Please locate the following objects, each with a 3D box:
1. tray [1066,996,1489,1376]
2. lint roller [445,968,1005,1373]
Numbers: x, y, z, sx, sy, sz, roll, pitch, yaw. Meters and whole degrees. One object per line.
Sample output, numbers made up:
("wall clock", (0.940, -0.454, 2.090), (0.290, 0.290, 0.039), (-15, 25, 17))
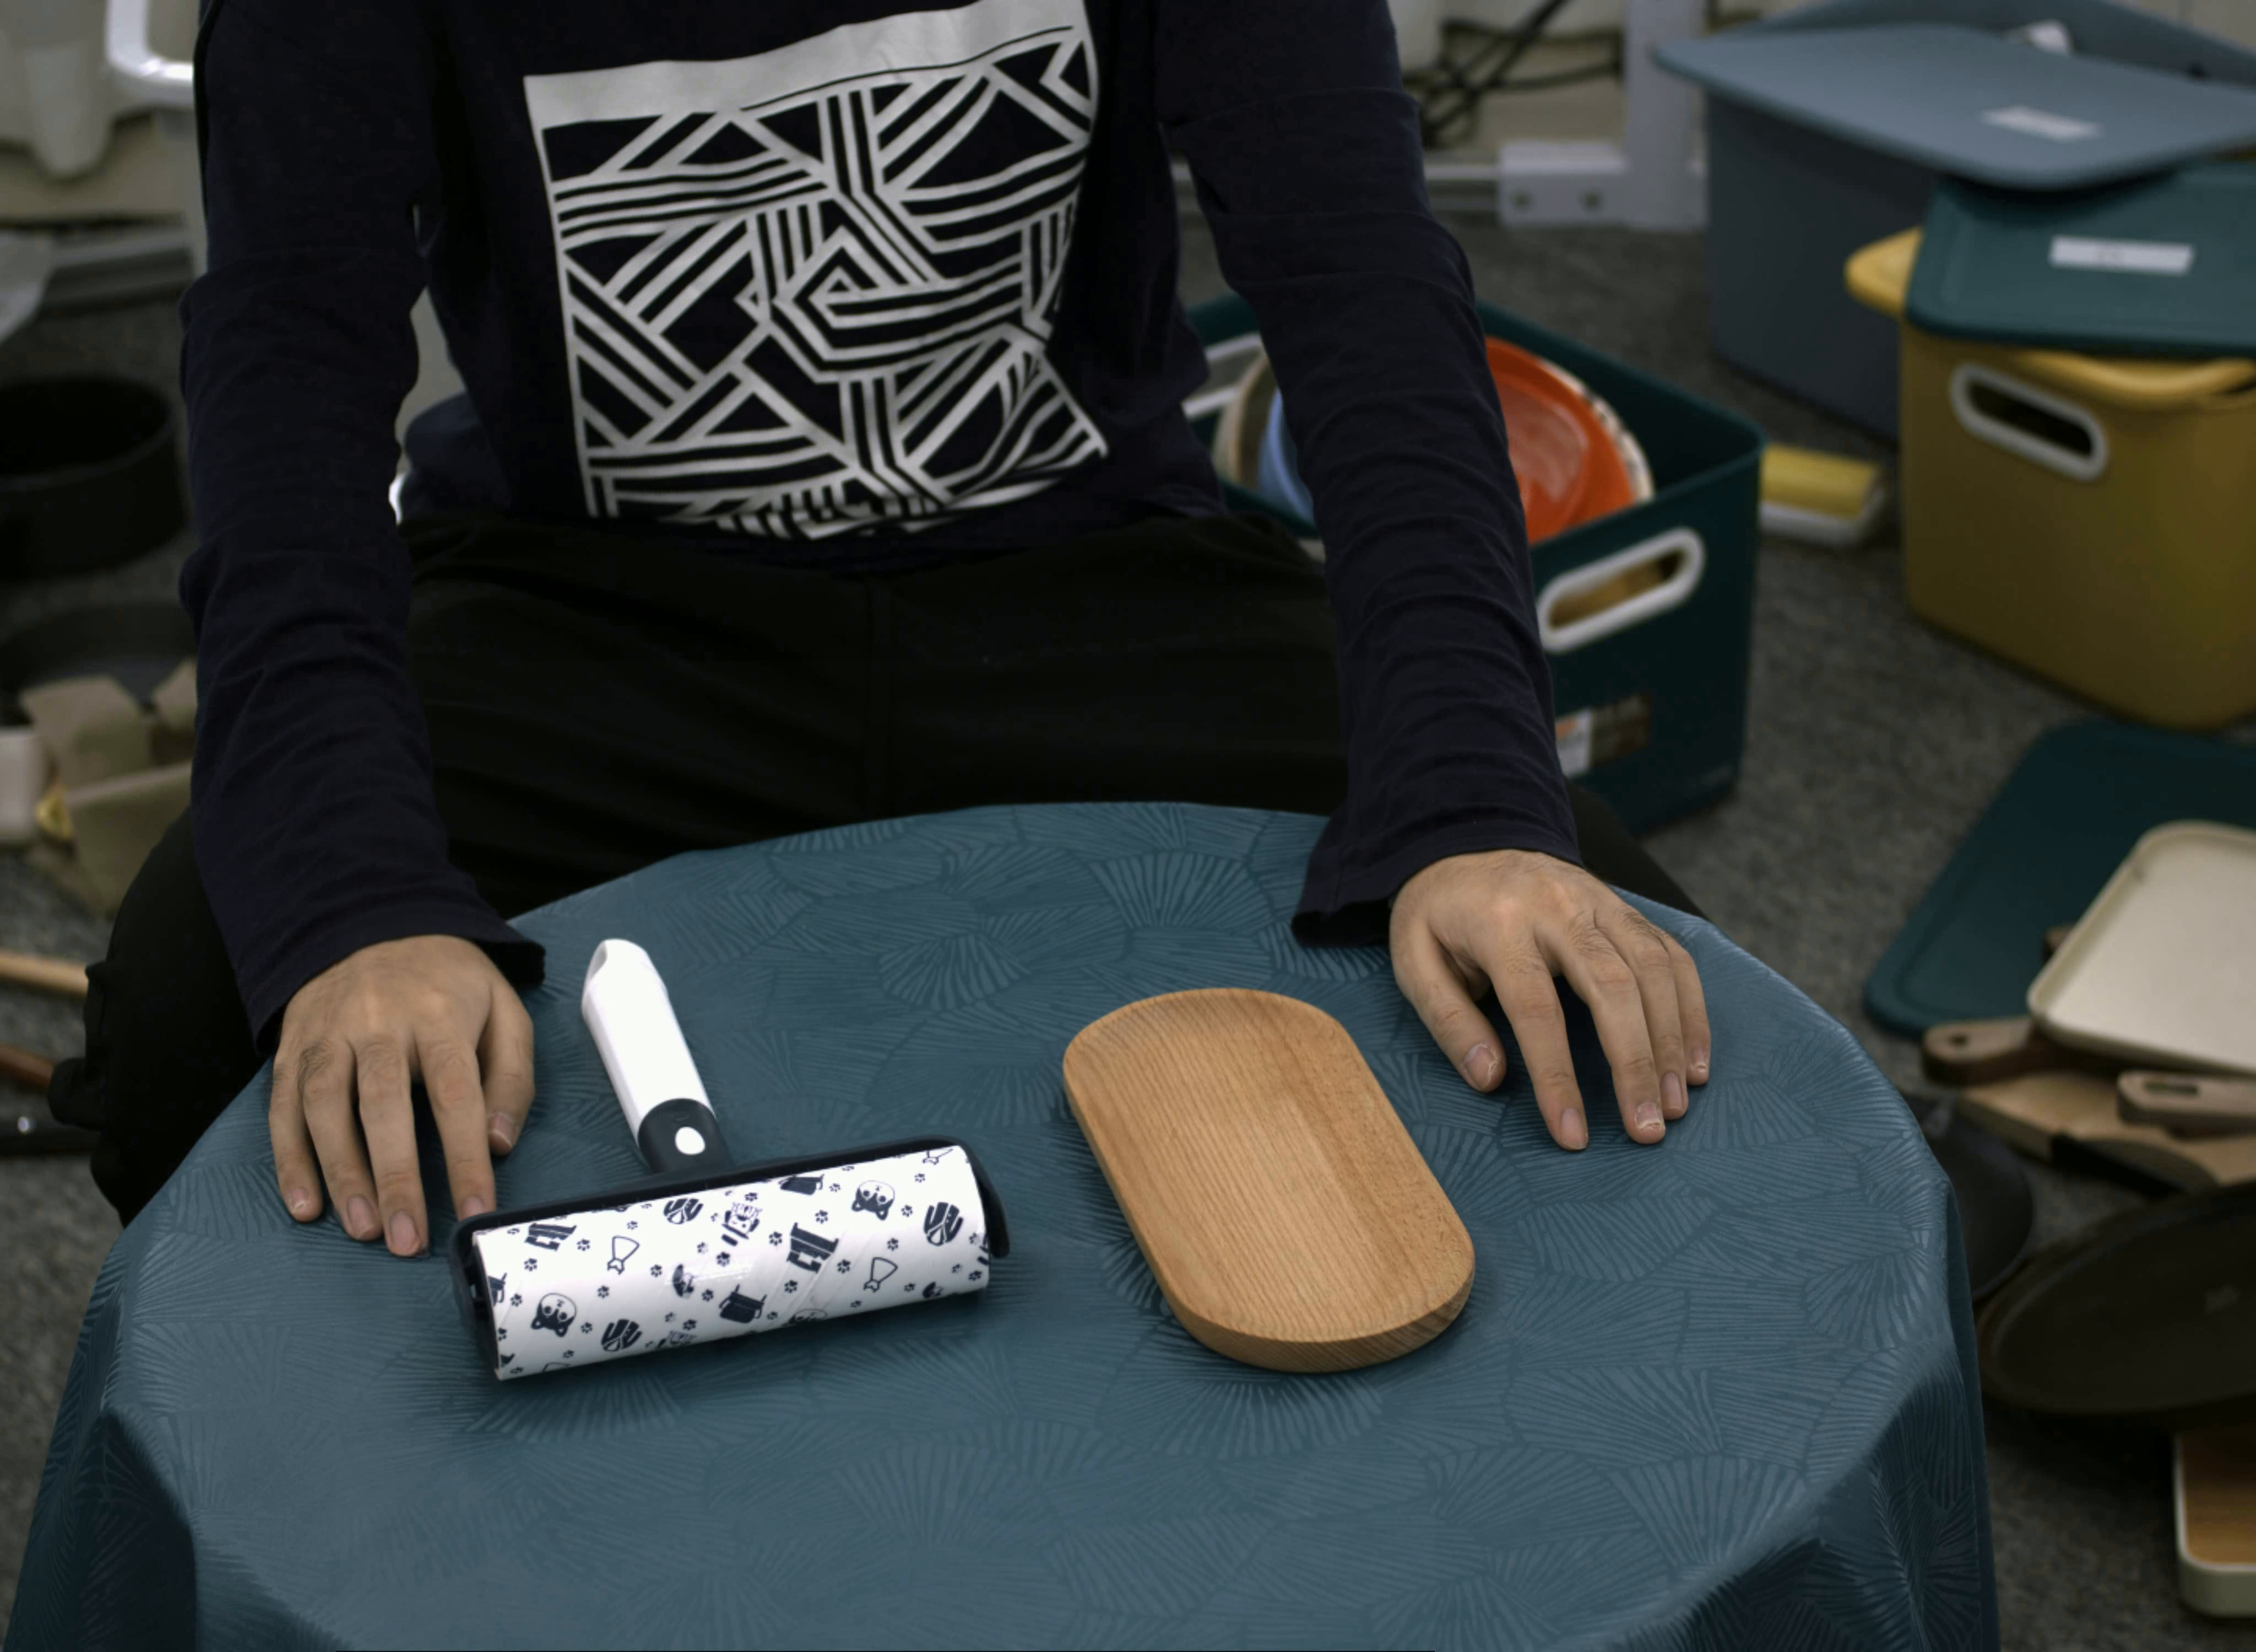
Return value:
("tray", (0.047, 0.116, 1.850), (0.102, 0.020, 0.233), (-11, 29, -12))
("lint roller", (-0.154, 0.099, 1.878), (0.176, 0.050, 0.249), (-10, 25, -13))
